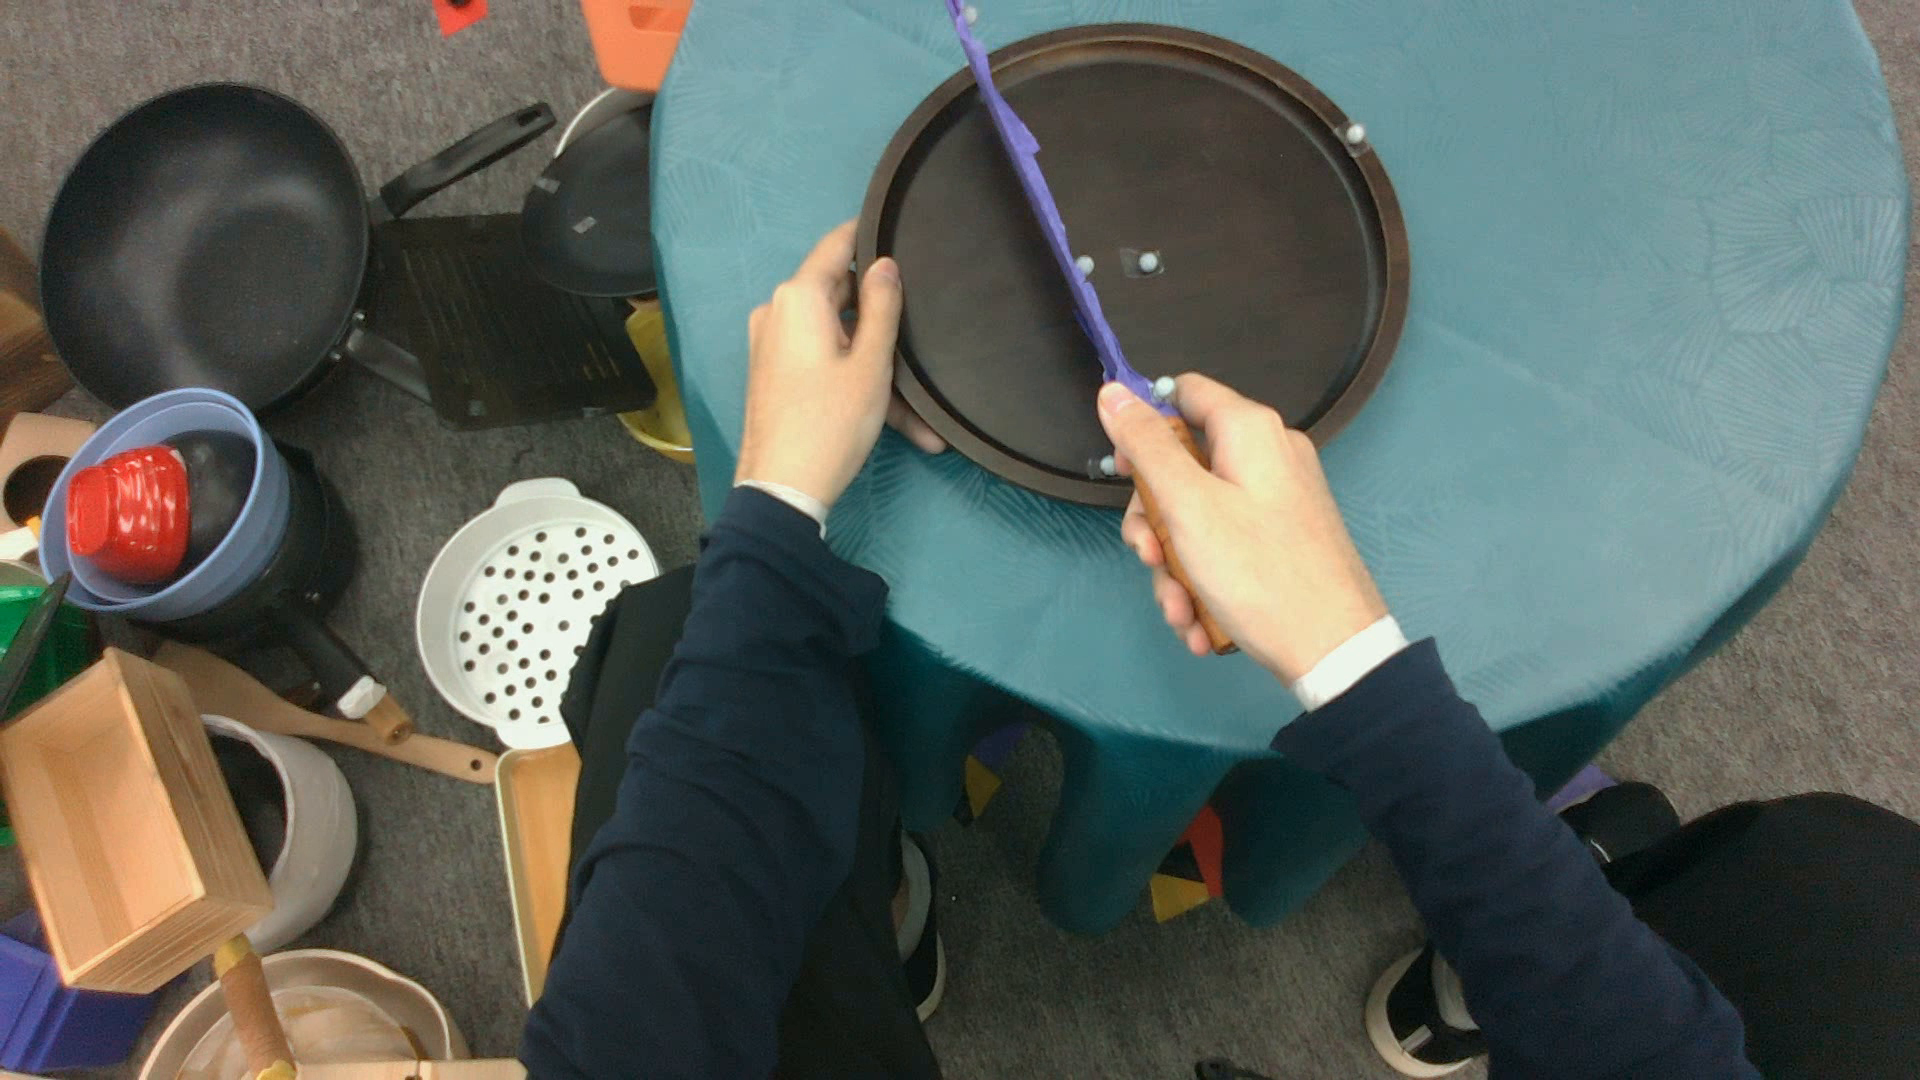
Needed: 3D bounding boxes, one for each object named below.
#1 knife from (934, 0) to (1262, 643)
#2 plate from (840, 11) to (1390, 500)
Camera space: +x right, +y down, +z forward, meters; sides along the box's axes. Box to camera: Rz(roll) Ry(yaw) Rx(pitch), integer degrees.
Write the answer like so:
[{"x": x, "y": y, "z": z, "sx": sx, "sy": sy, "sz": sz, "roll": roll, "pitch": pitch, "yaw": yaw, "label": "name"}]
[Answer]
[{"x": 0.050, "y": -0.102, "z": 0.573, "sx": 0.032, "sy": 0.104, "sz": 0.316, "roll": -22, "pitch": 74, "yaw": 6, "label": "knife"}, {"x": 0.071, "y": -0.136, "z": 0.639, "sx": 0.255, "sy": 0.029, "sz": 0.255, "roll": 1, "pitch": 70, "yaw": -1, "label": "plate"}]
